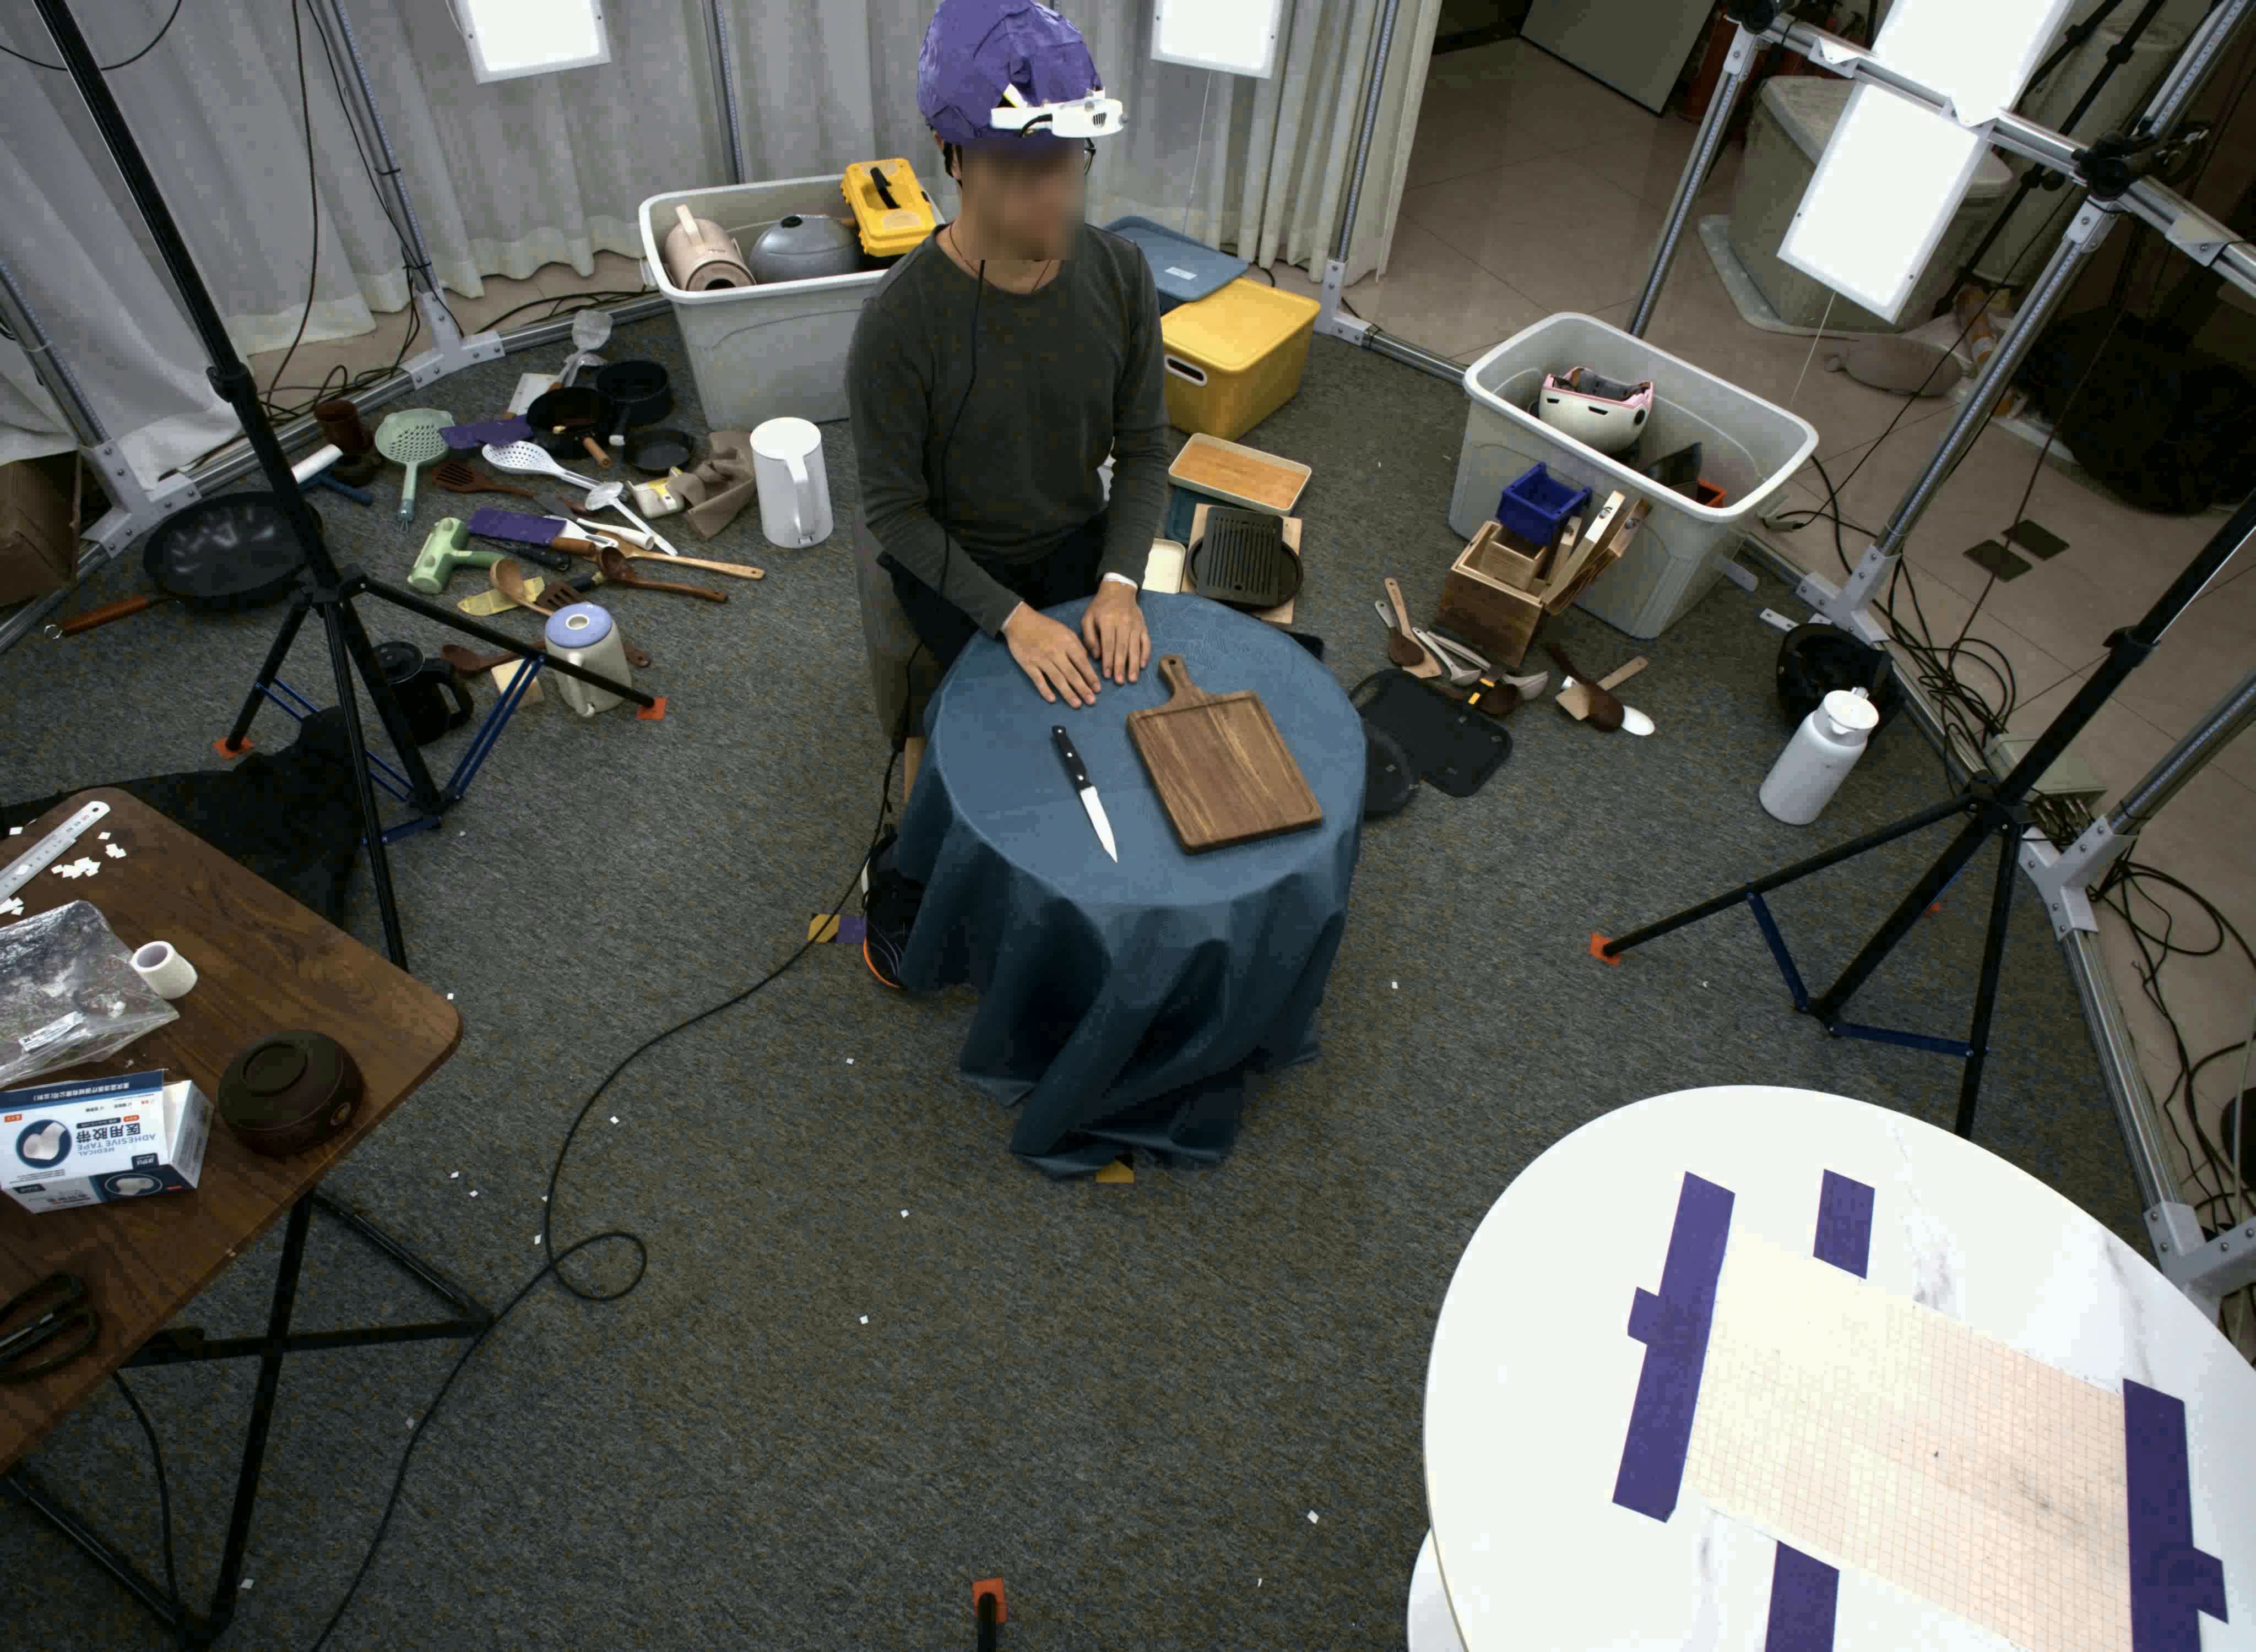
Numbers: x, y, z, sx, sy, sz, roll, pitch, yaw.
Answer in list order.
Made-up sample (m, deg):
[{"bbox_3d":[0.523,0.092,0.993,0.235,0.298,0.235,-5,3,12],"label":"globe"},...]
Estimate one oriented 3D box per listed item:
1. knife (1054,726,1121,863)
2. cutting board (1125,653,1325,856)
[{"bbox_3d":[-0.055,-0.043,1.693,0.024,0.016,0.244,-16,54,-13],"label":"knife"},{"bbox_3d":[0.112,-0.116,1.762,0.201,0.022,0.361,-12,51,-14],"label":"cutting board"}]
